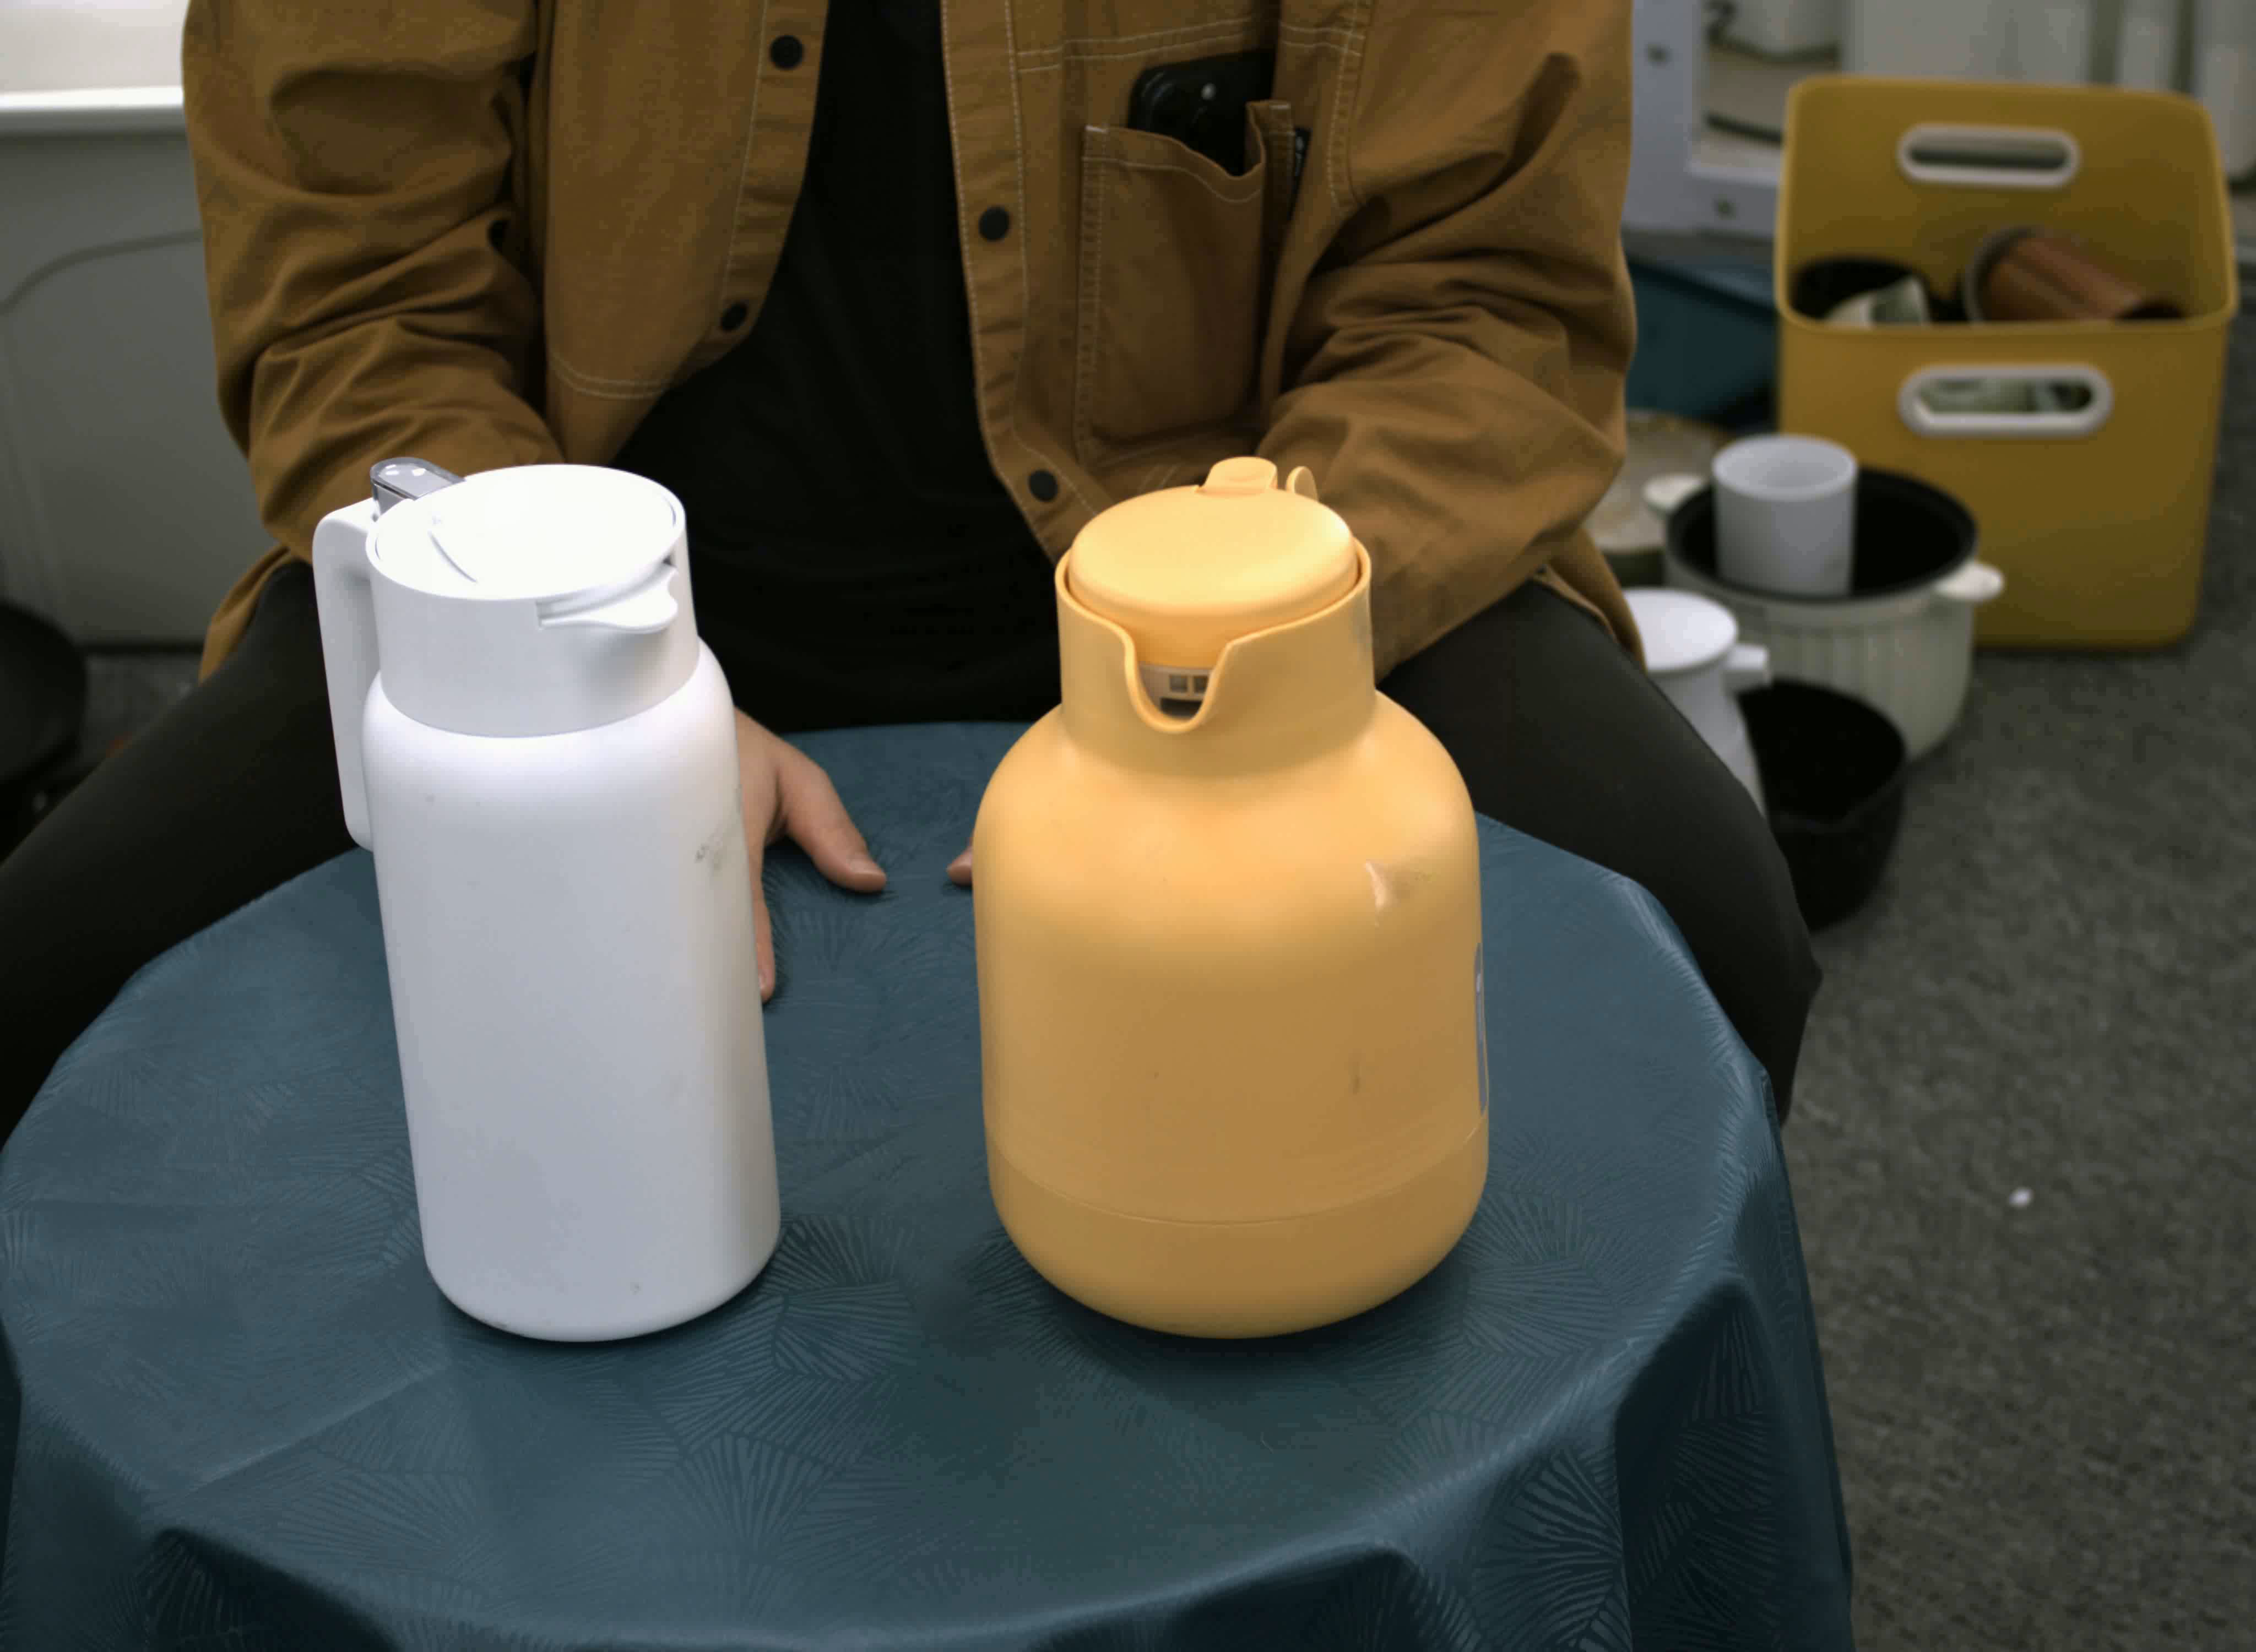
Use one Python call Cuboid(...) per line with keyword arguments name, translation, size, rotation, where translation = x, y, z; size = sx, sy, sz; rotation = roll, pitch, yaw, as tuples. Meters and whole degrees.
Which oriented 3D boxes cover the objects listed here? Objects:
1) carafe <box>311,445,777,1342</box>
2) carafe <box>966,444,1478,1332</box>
Cuboid(name="carafe", translation=(-0.191, 0.019, 1.789), size=(0.125, 0.266, 0.172), rotation=(-27, 34, -36))
Cuboid(name="carafe", translation=(0.035, 0.010, 1.788), size=(0.162, 0.257, 0.206), rotation=(6, 29, 12))
